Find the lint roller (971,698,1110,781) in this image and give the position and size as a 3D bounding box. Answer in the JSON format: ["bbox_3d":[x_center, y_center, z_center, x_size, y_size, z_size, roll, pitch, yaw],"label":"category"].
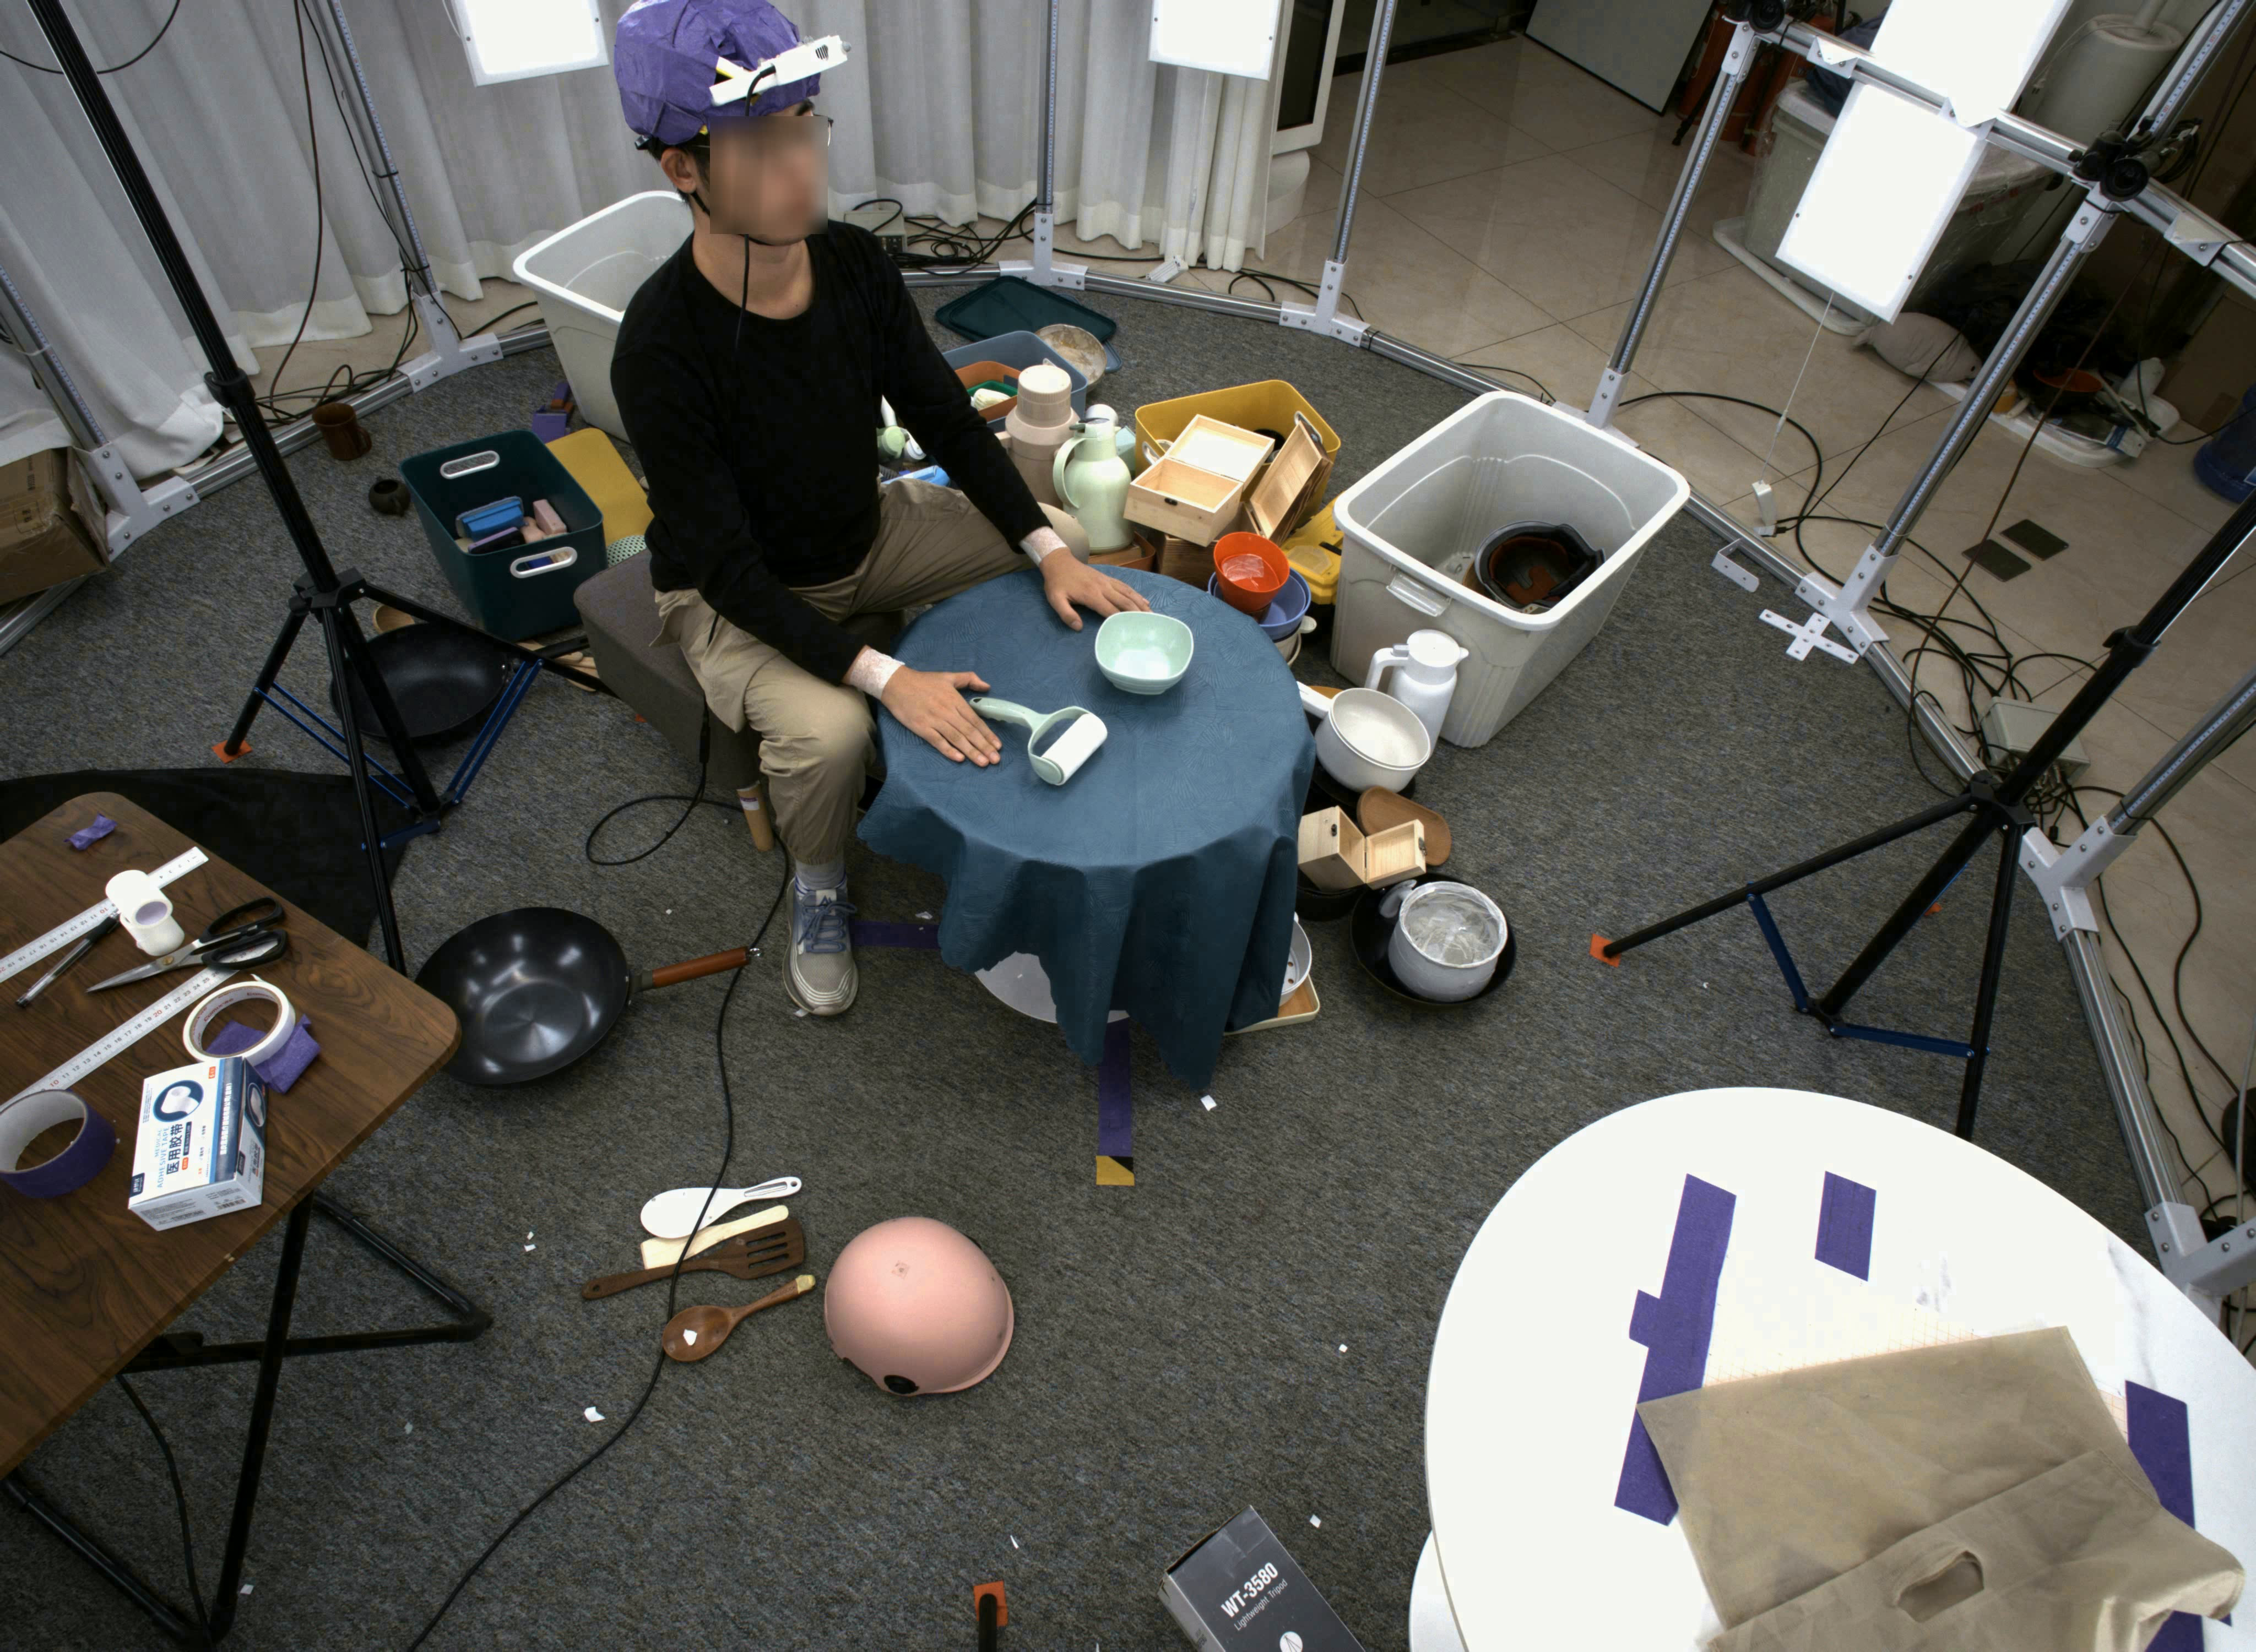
[{"bbox_3d":[-0.132,-0.141,1.754,0.199,0.047,0.118,27,54,21],"label":"lint roller"}]

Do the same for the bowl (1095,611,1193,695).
[{"bbox_3d":[0.021,-0.240,1.844,0.151,0.057,0.155,3,50,-3],"label":"bowl"}]
